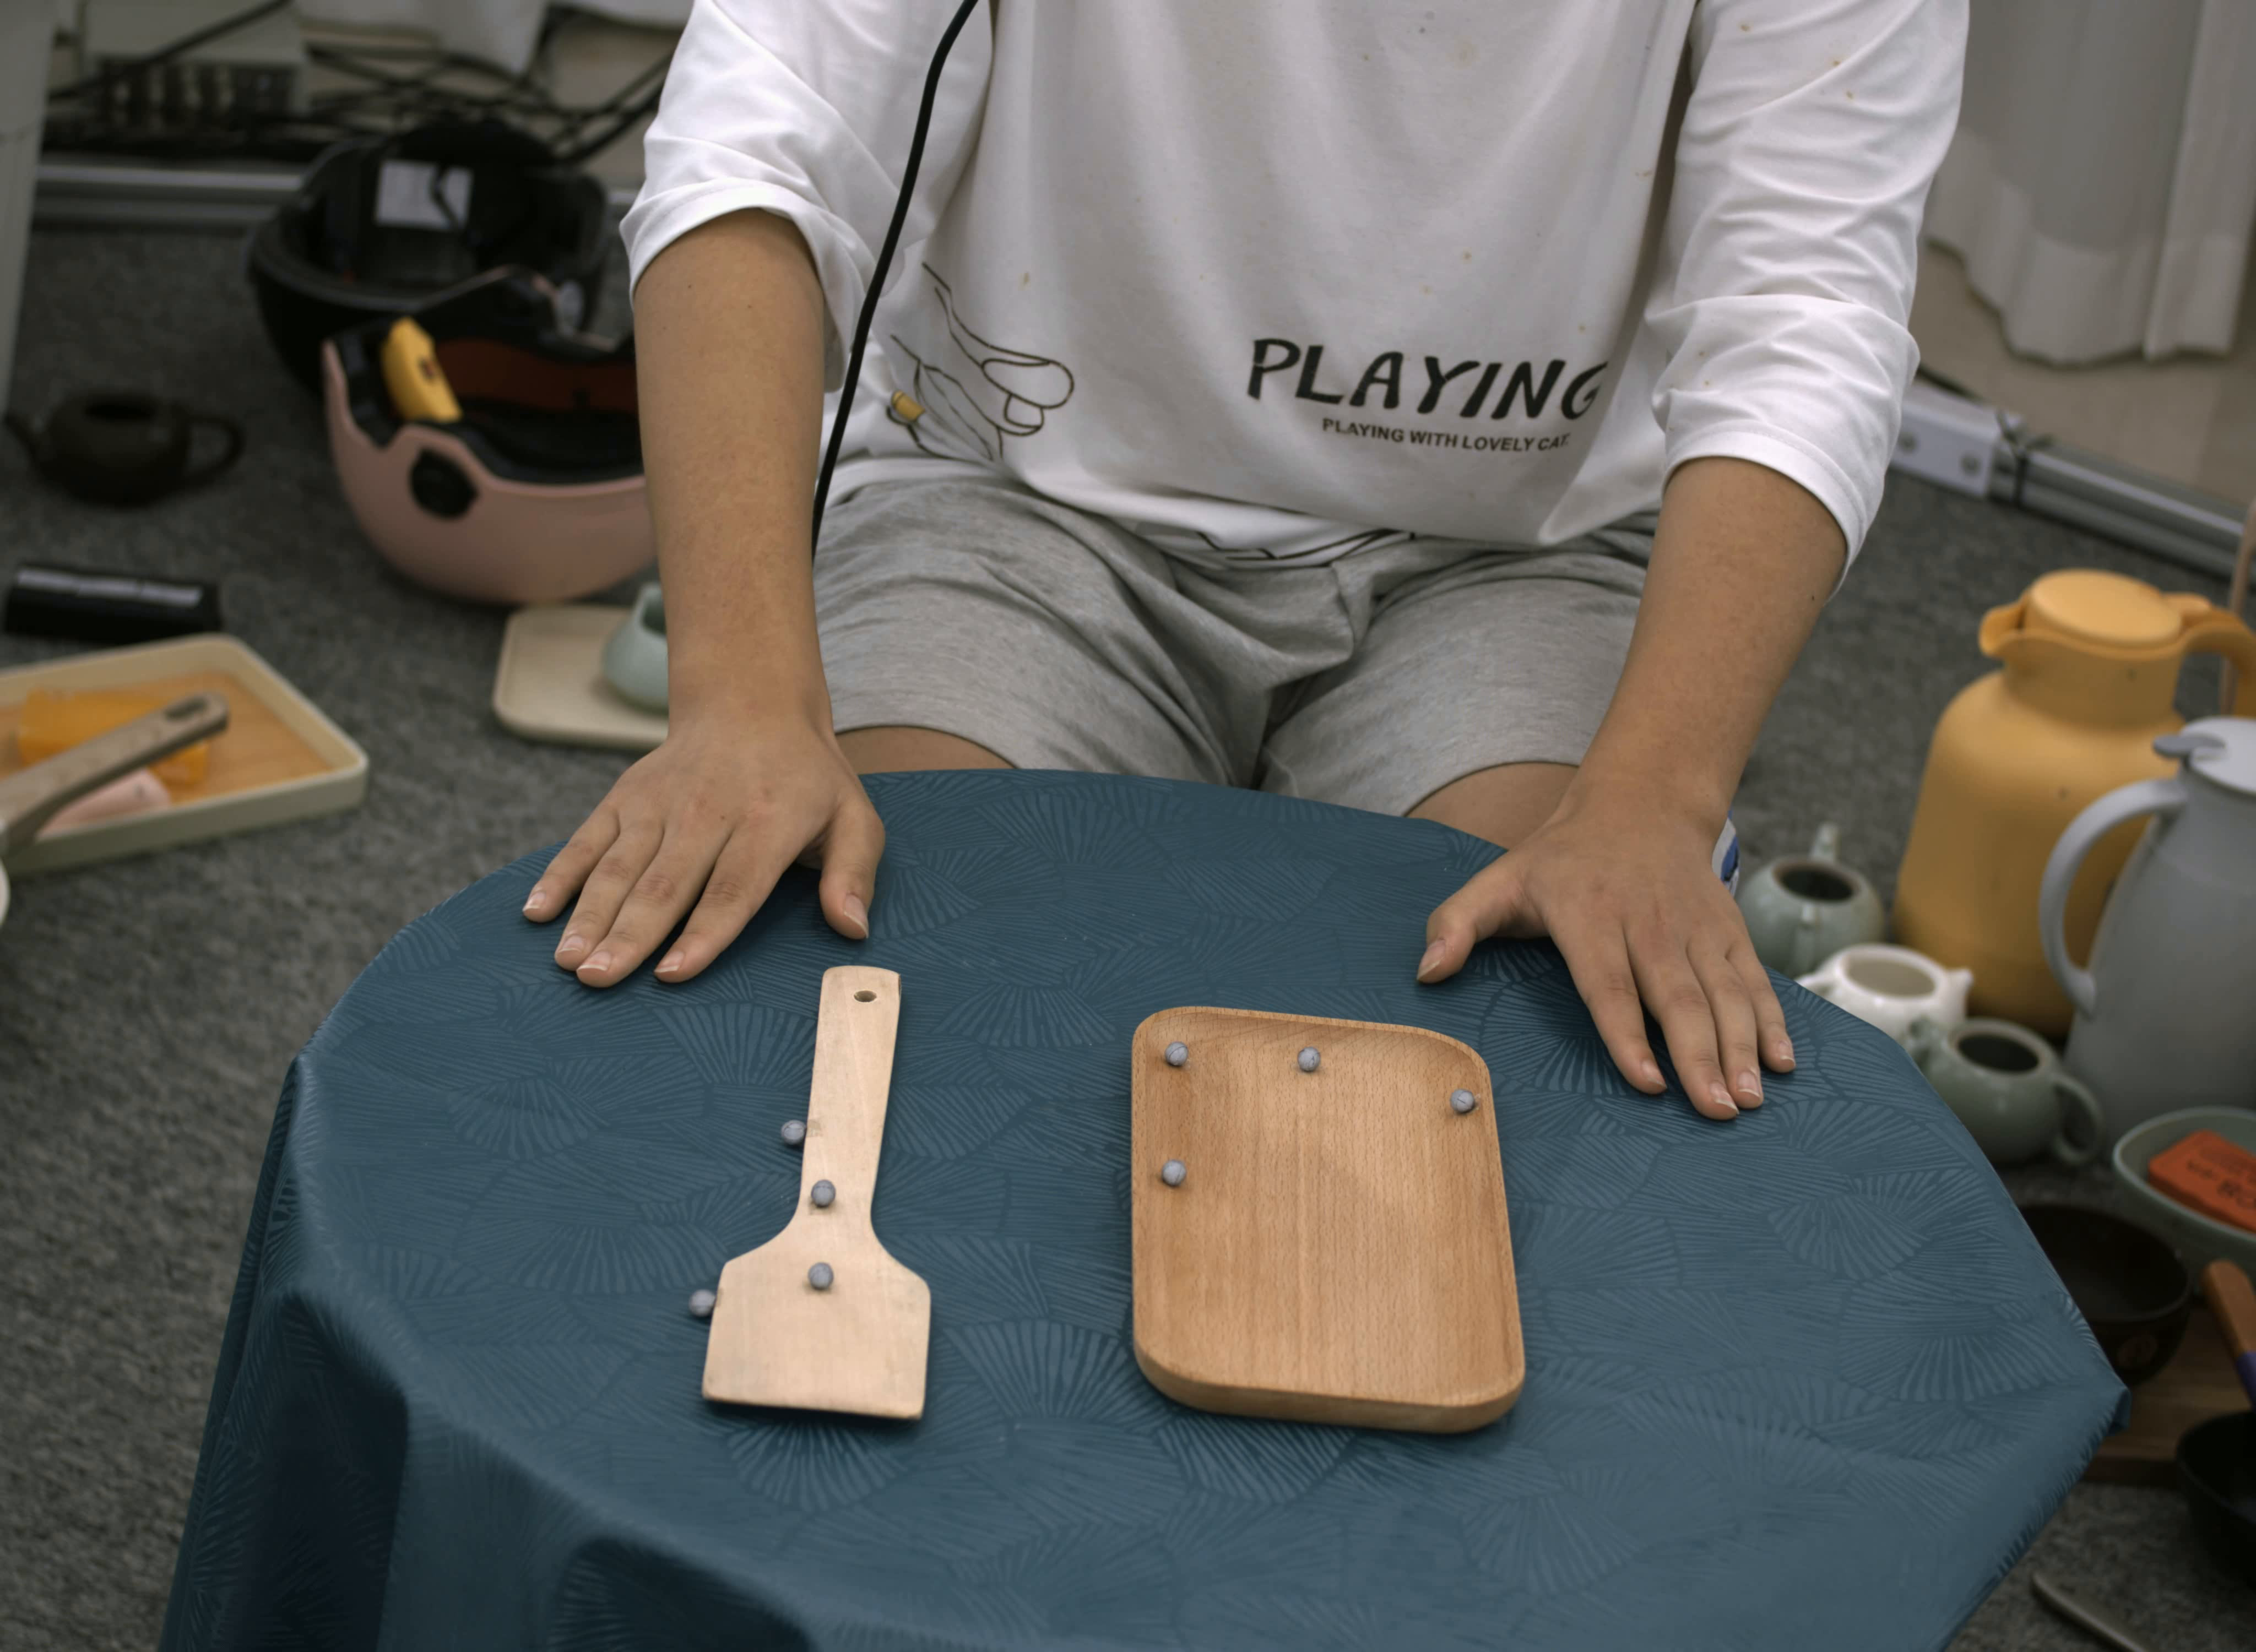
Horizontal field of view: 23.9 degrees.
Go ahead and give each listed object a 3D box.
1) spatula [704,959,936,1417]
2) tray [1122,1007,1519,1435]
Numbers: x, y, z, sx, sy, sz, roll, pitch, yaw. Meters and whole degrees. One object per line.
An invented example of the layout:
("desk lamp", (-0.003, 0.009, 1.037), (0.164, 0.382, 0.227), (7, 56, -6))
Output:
("spatula", (-0.096, 0.117, 1.787), (0.072, 0.010, 0.295), (5, 27, -2))
("tray", (0.063, 0.130, 1.790), (0.130, 0.023, 0.252), (4, 27, 0))
